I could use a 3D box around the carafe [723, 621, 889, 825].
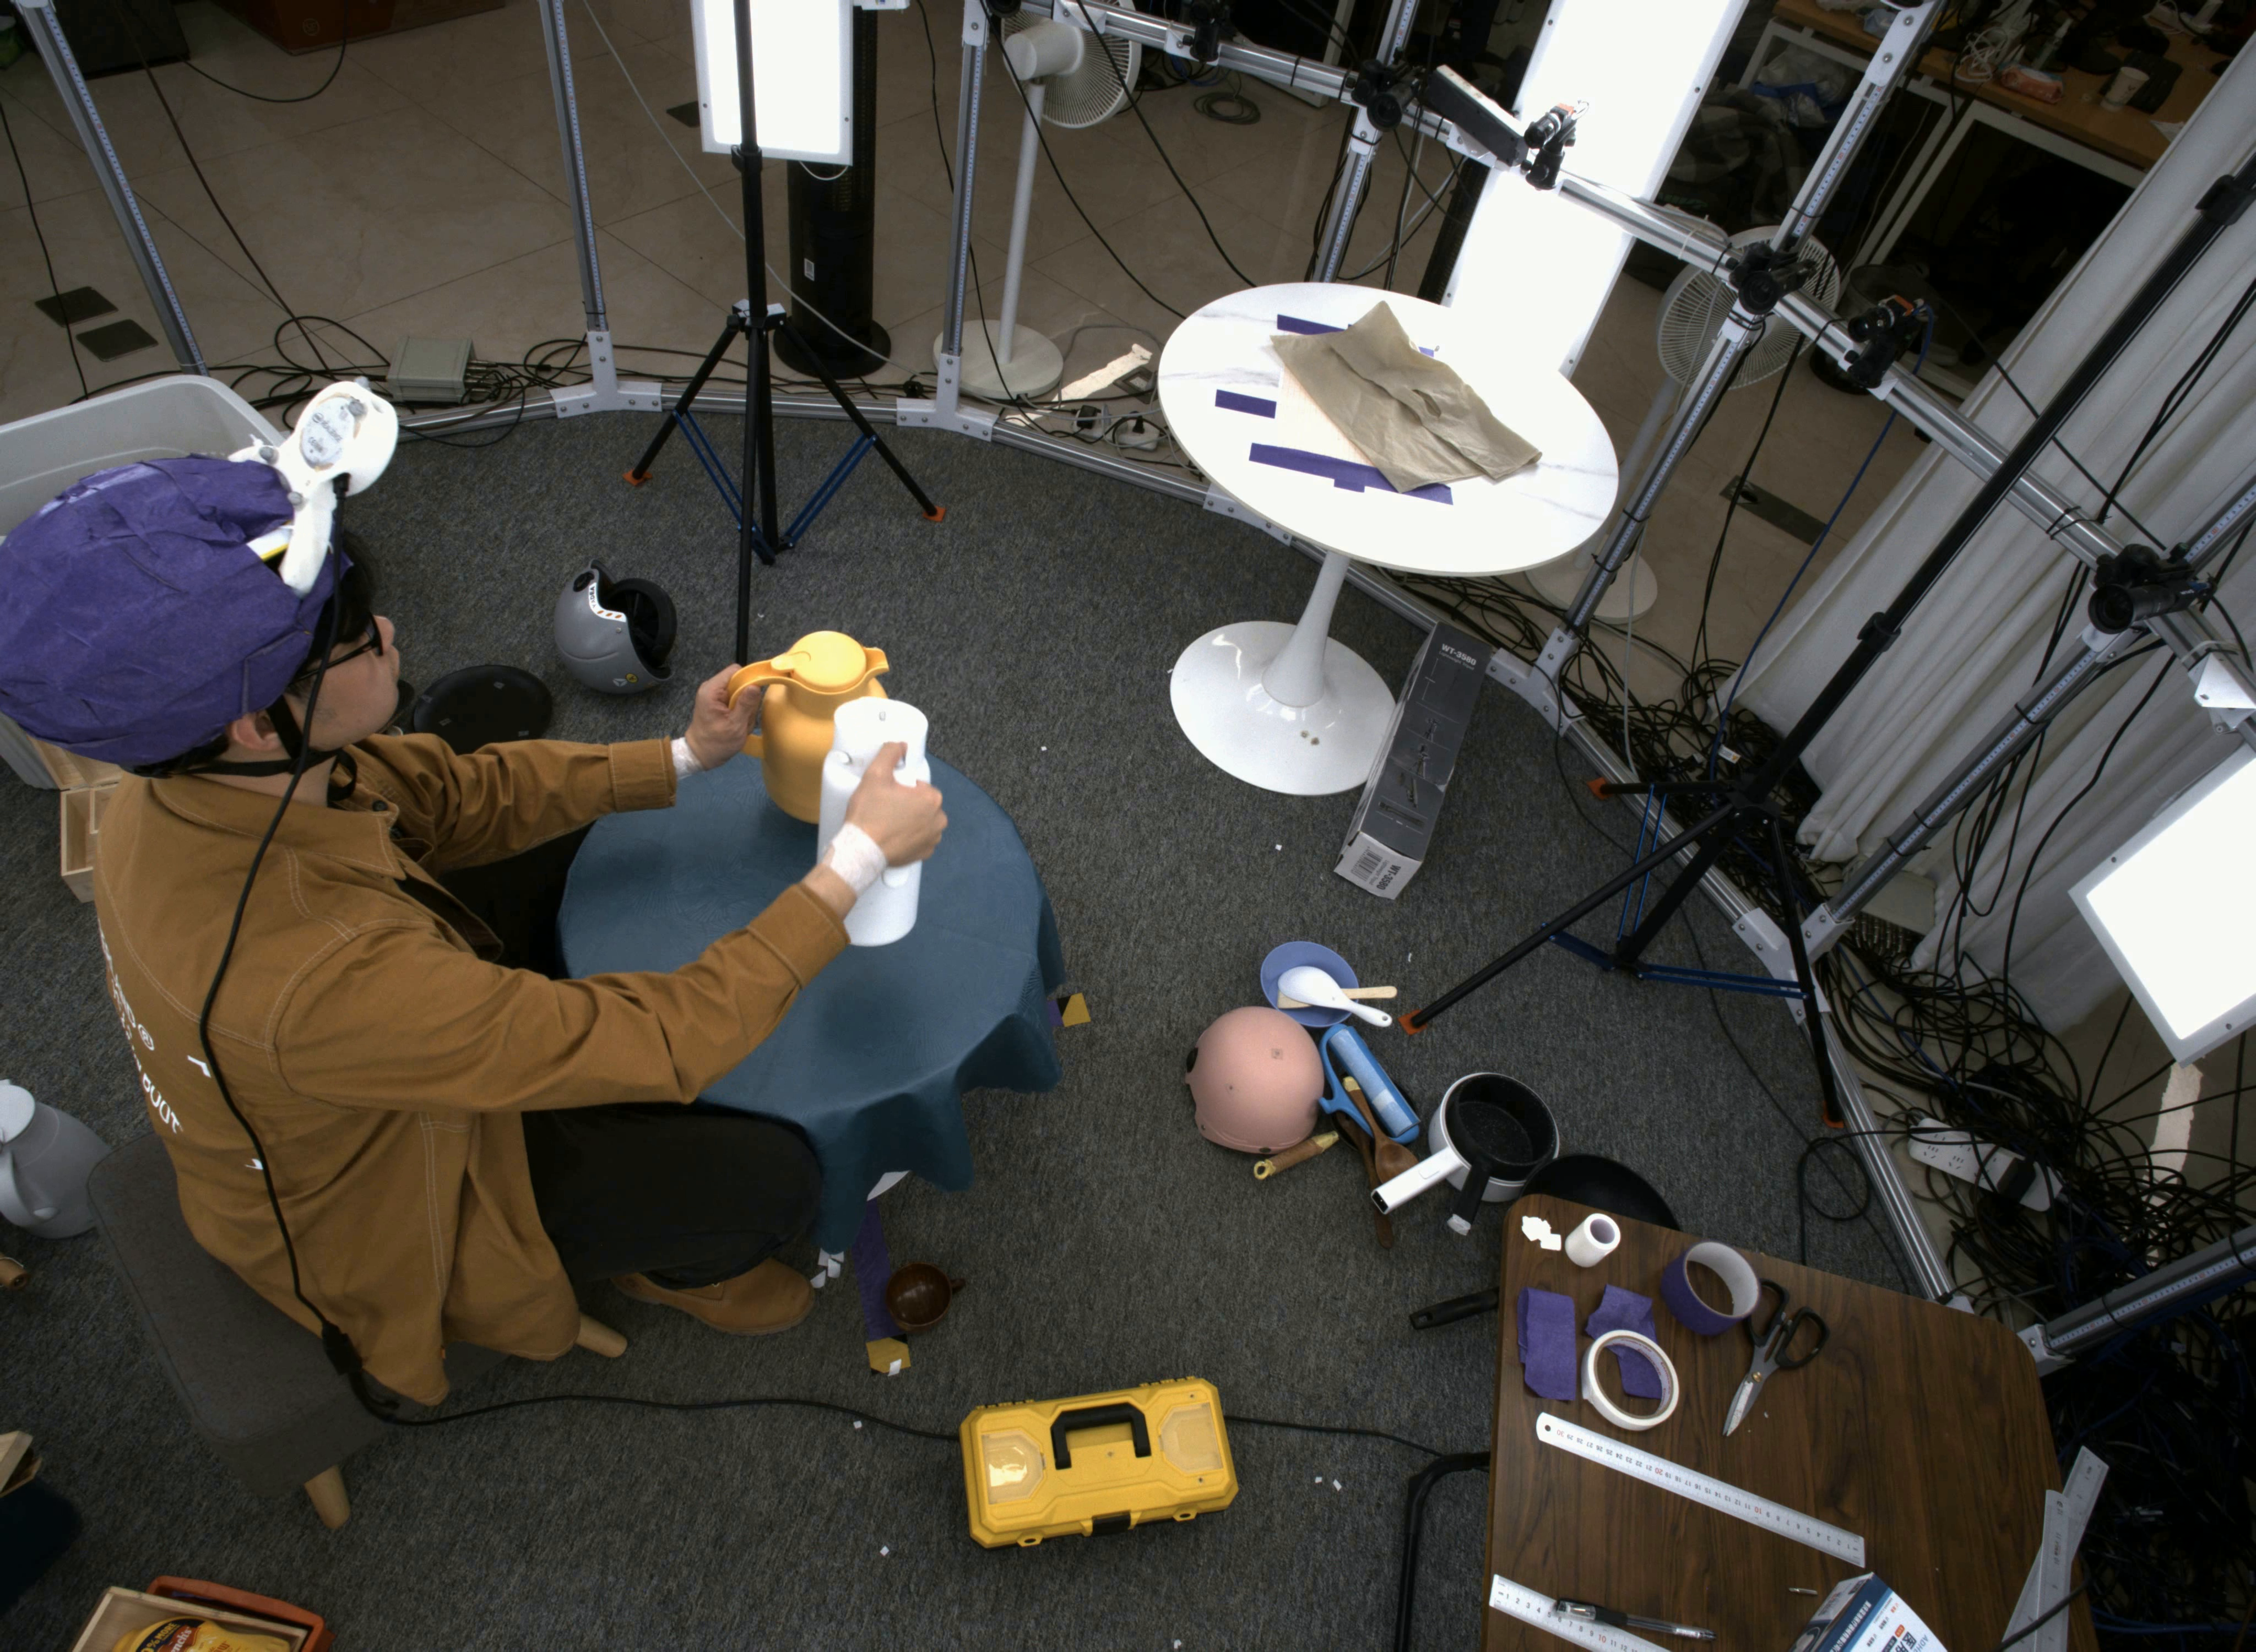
[{"bbox_3d":[-0.397,-0.132,1.608,0.203,0.265,0.159,-6,54,-20],"label":"carafe"}]

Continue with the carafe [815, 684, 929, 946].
[{"bbox_3d":[-0.276,0.003,1.424,0.125,0.275,0.167,-4,36,-26],"label":"carafe"}]
